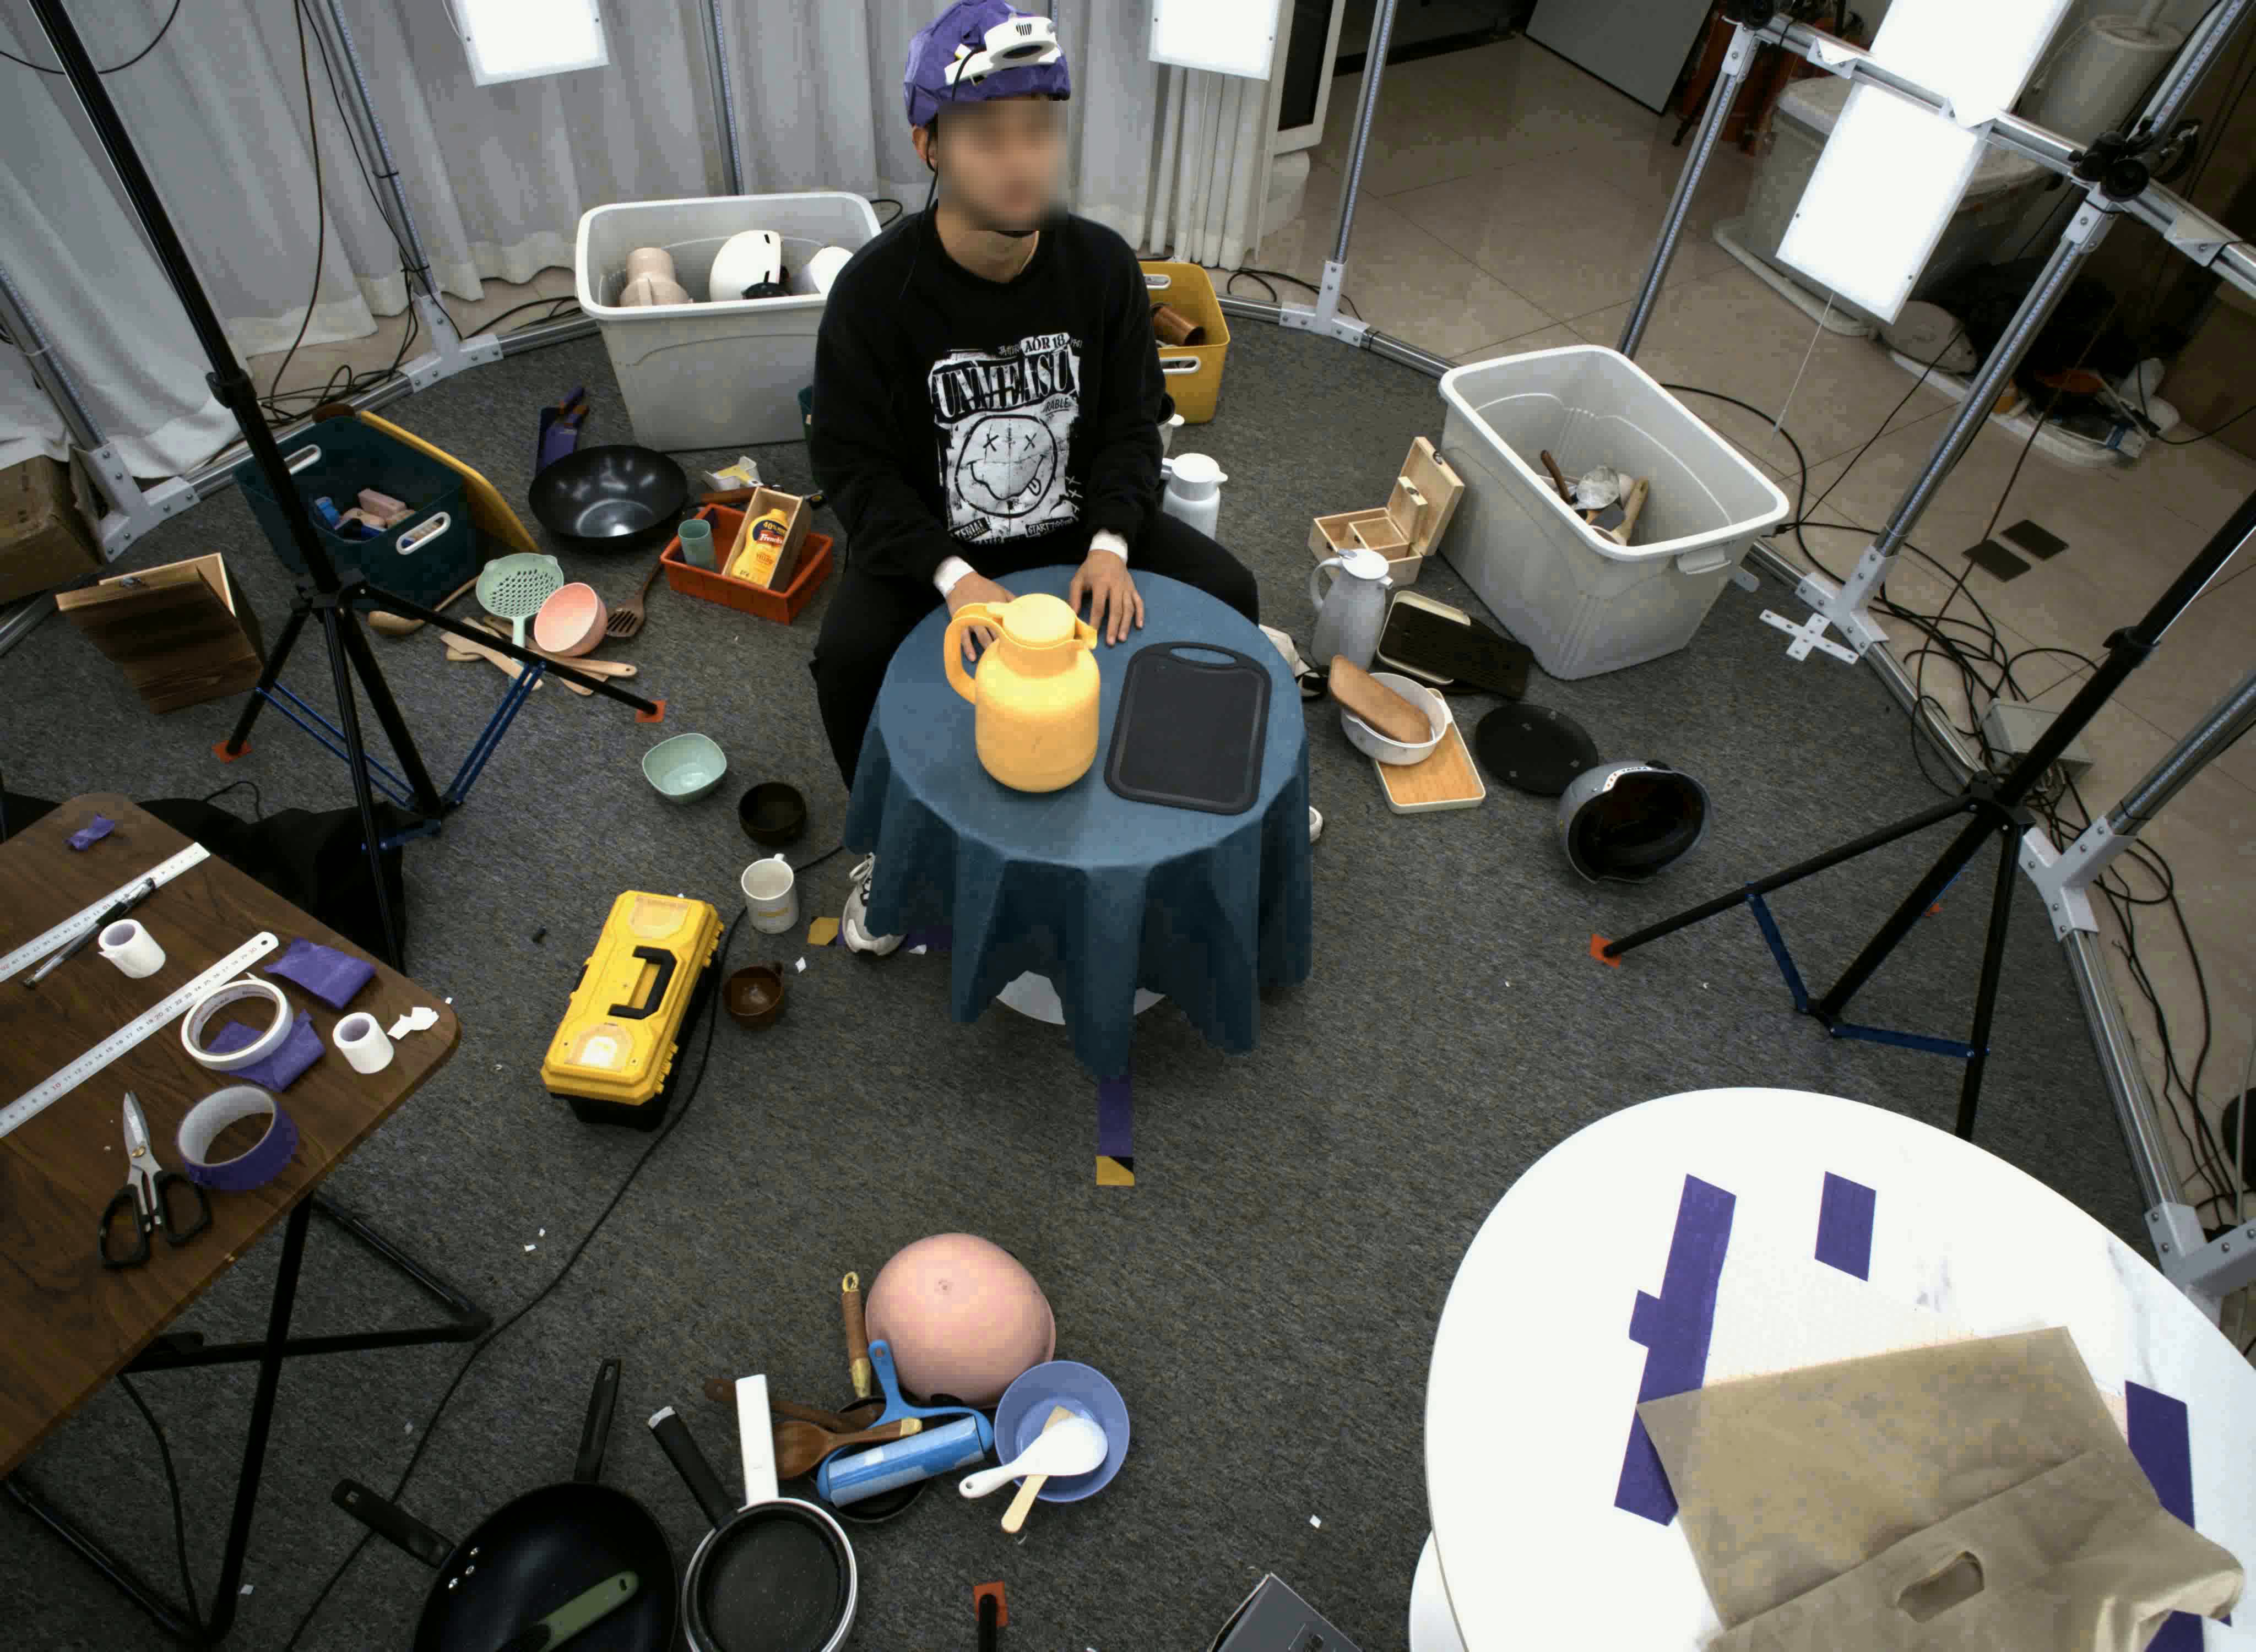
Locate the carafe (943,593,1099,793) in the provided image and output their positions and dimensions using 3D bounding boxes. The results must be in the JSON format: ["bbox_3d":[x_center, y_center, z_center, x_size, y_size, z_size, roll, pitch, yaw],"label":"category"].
[{"bbox_3d":[-0.136,-0.181,1.649,0.203,0.254,0.167,17,48,8],"label":"carafe"}]

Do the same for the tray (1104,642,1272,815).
[{"bbox_3d":[0.090,-0.149,1.800,0.211,0.009,0.333,9,49,4],"label":"tray"}]
